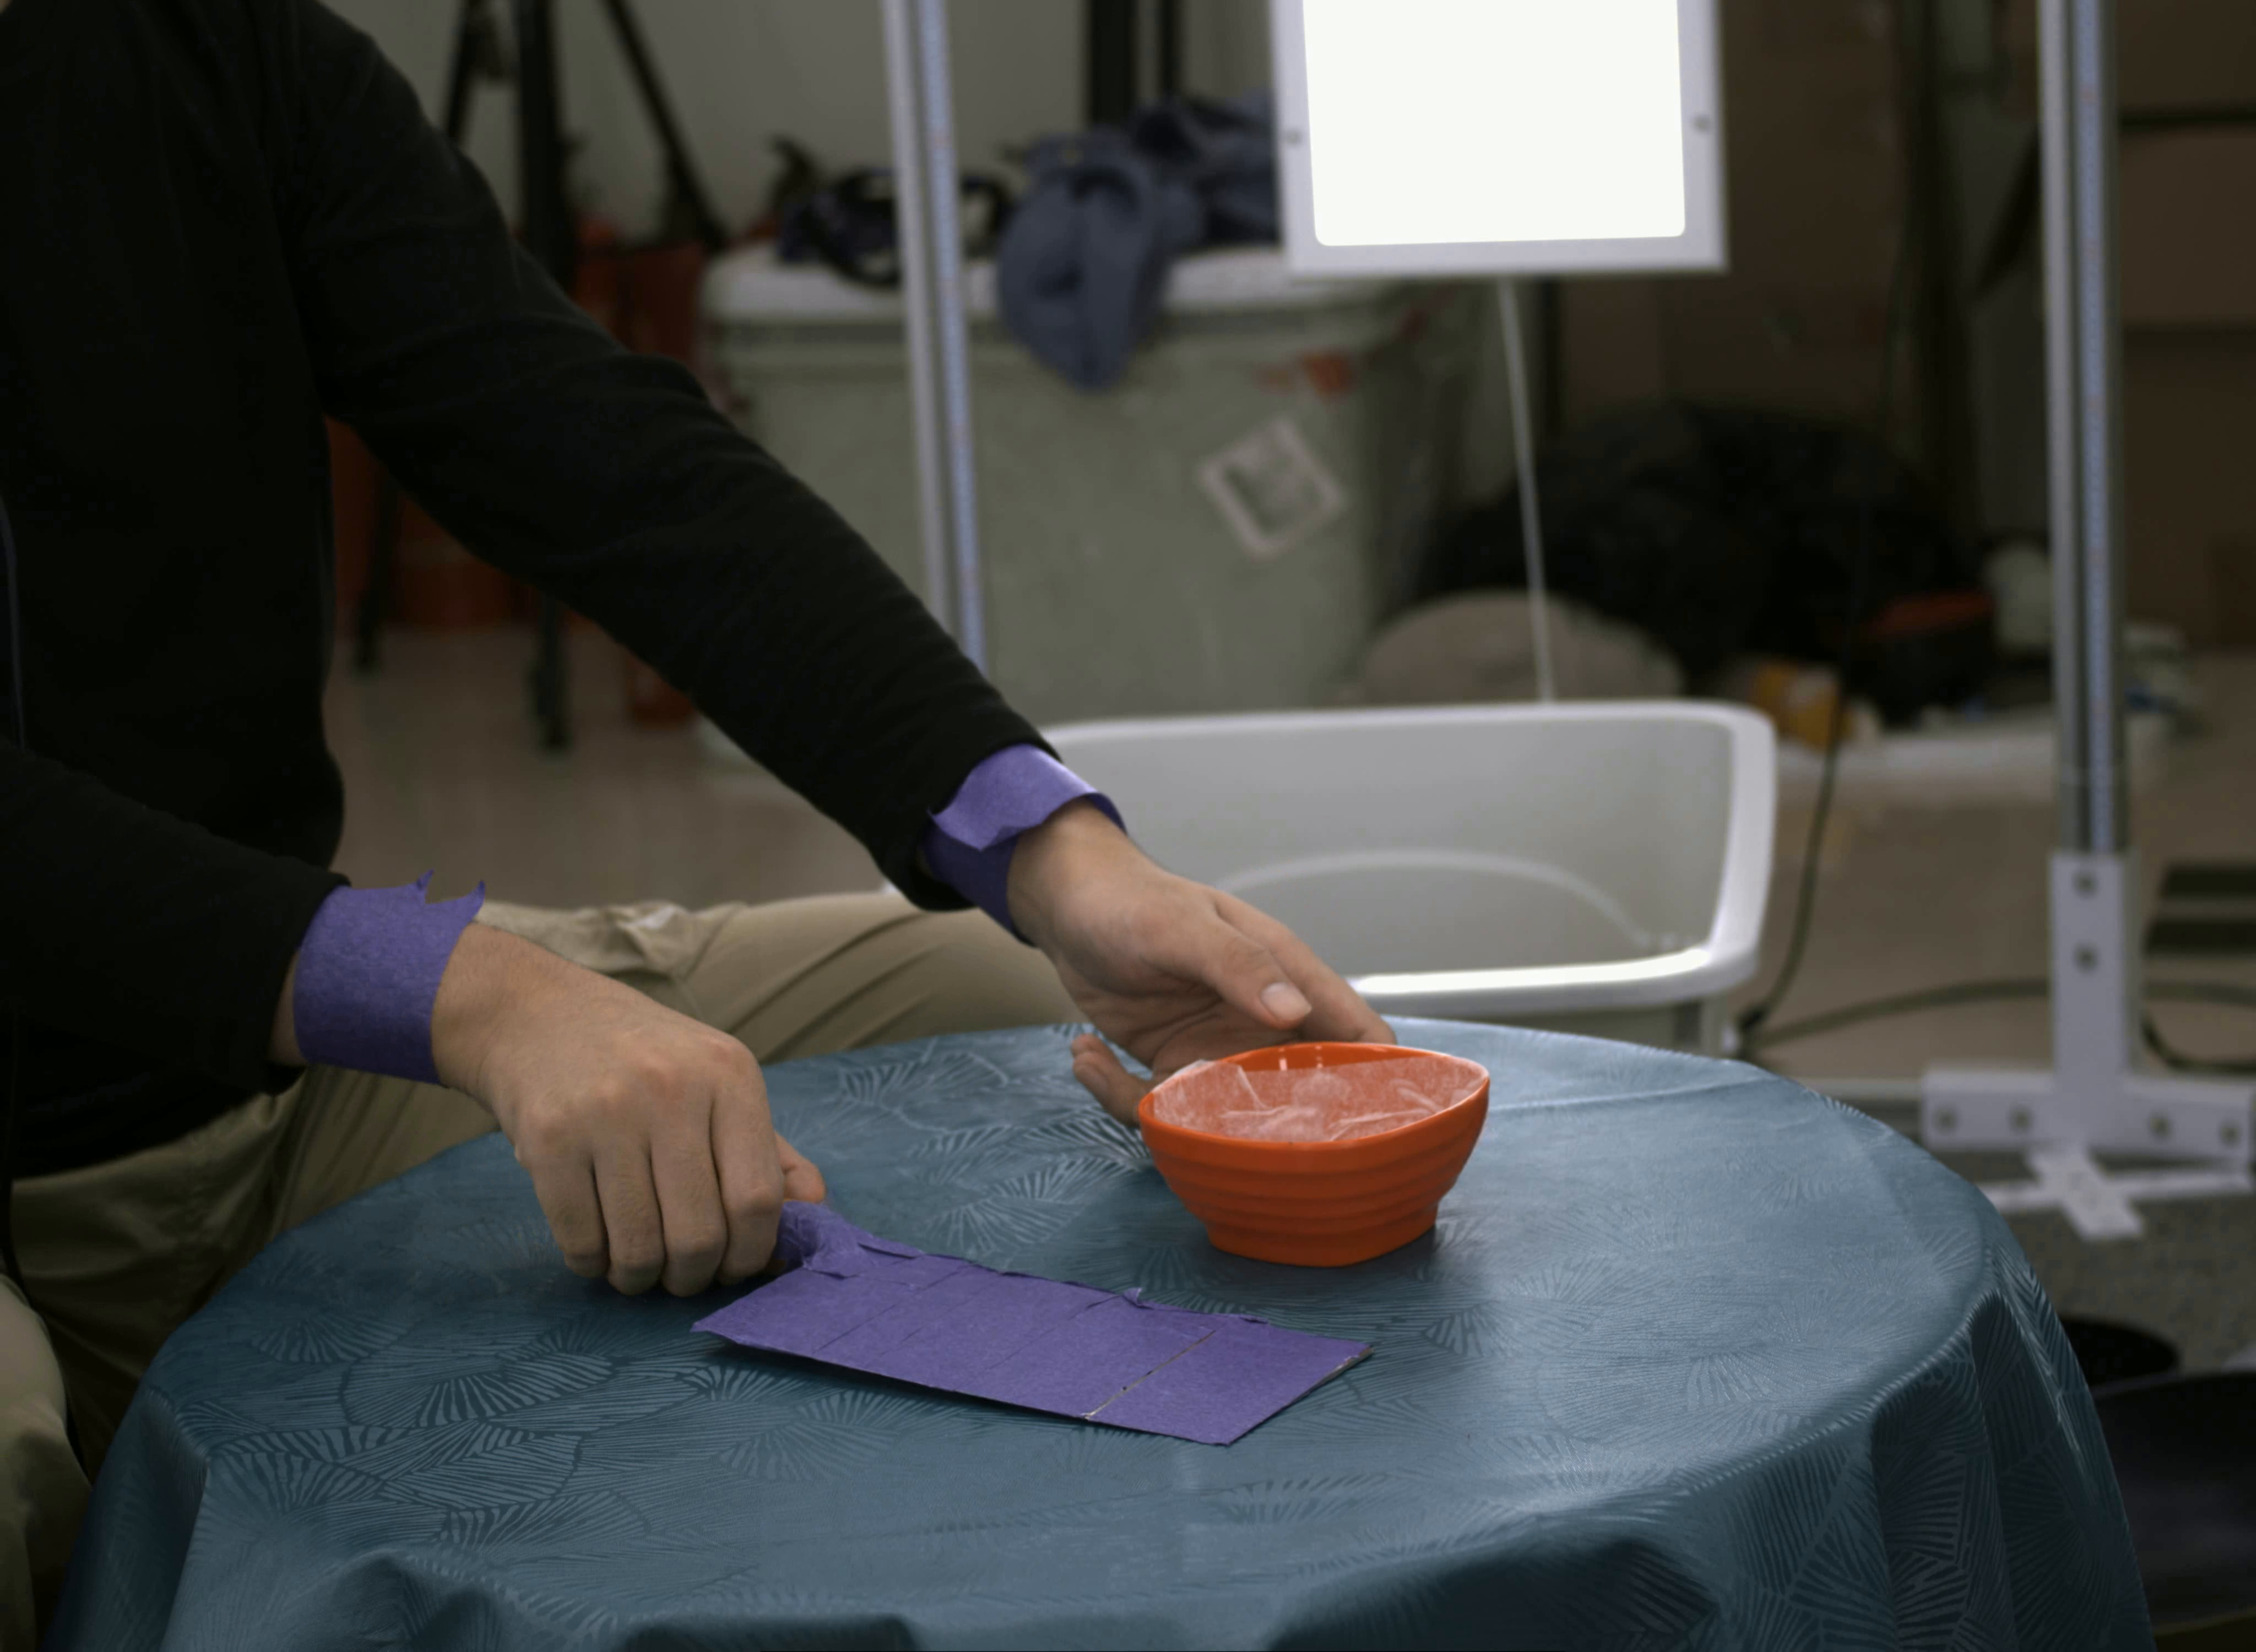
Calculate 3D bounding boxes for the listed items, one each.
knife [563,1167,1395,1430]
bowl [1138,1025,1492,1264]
[{"bbox_3d":[-0.072,0.151,1.771,0.321,0.032,0.101,6,17,35],"label":"knife"},{"bbox_3d":[0.063,0.108,1.831,0.118,0.051,0.119,-3,17,0],"label":"bowl"}]
